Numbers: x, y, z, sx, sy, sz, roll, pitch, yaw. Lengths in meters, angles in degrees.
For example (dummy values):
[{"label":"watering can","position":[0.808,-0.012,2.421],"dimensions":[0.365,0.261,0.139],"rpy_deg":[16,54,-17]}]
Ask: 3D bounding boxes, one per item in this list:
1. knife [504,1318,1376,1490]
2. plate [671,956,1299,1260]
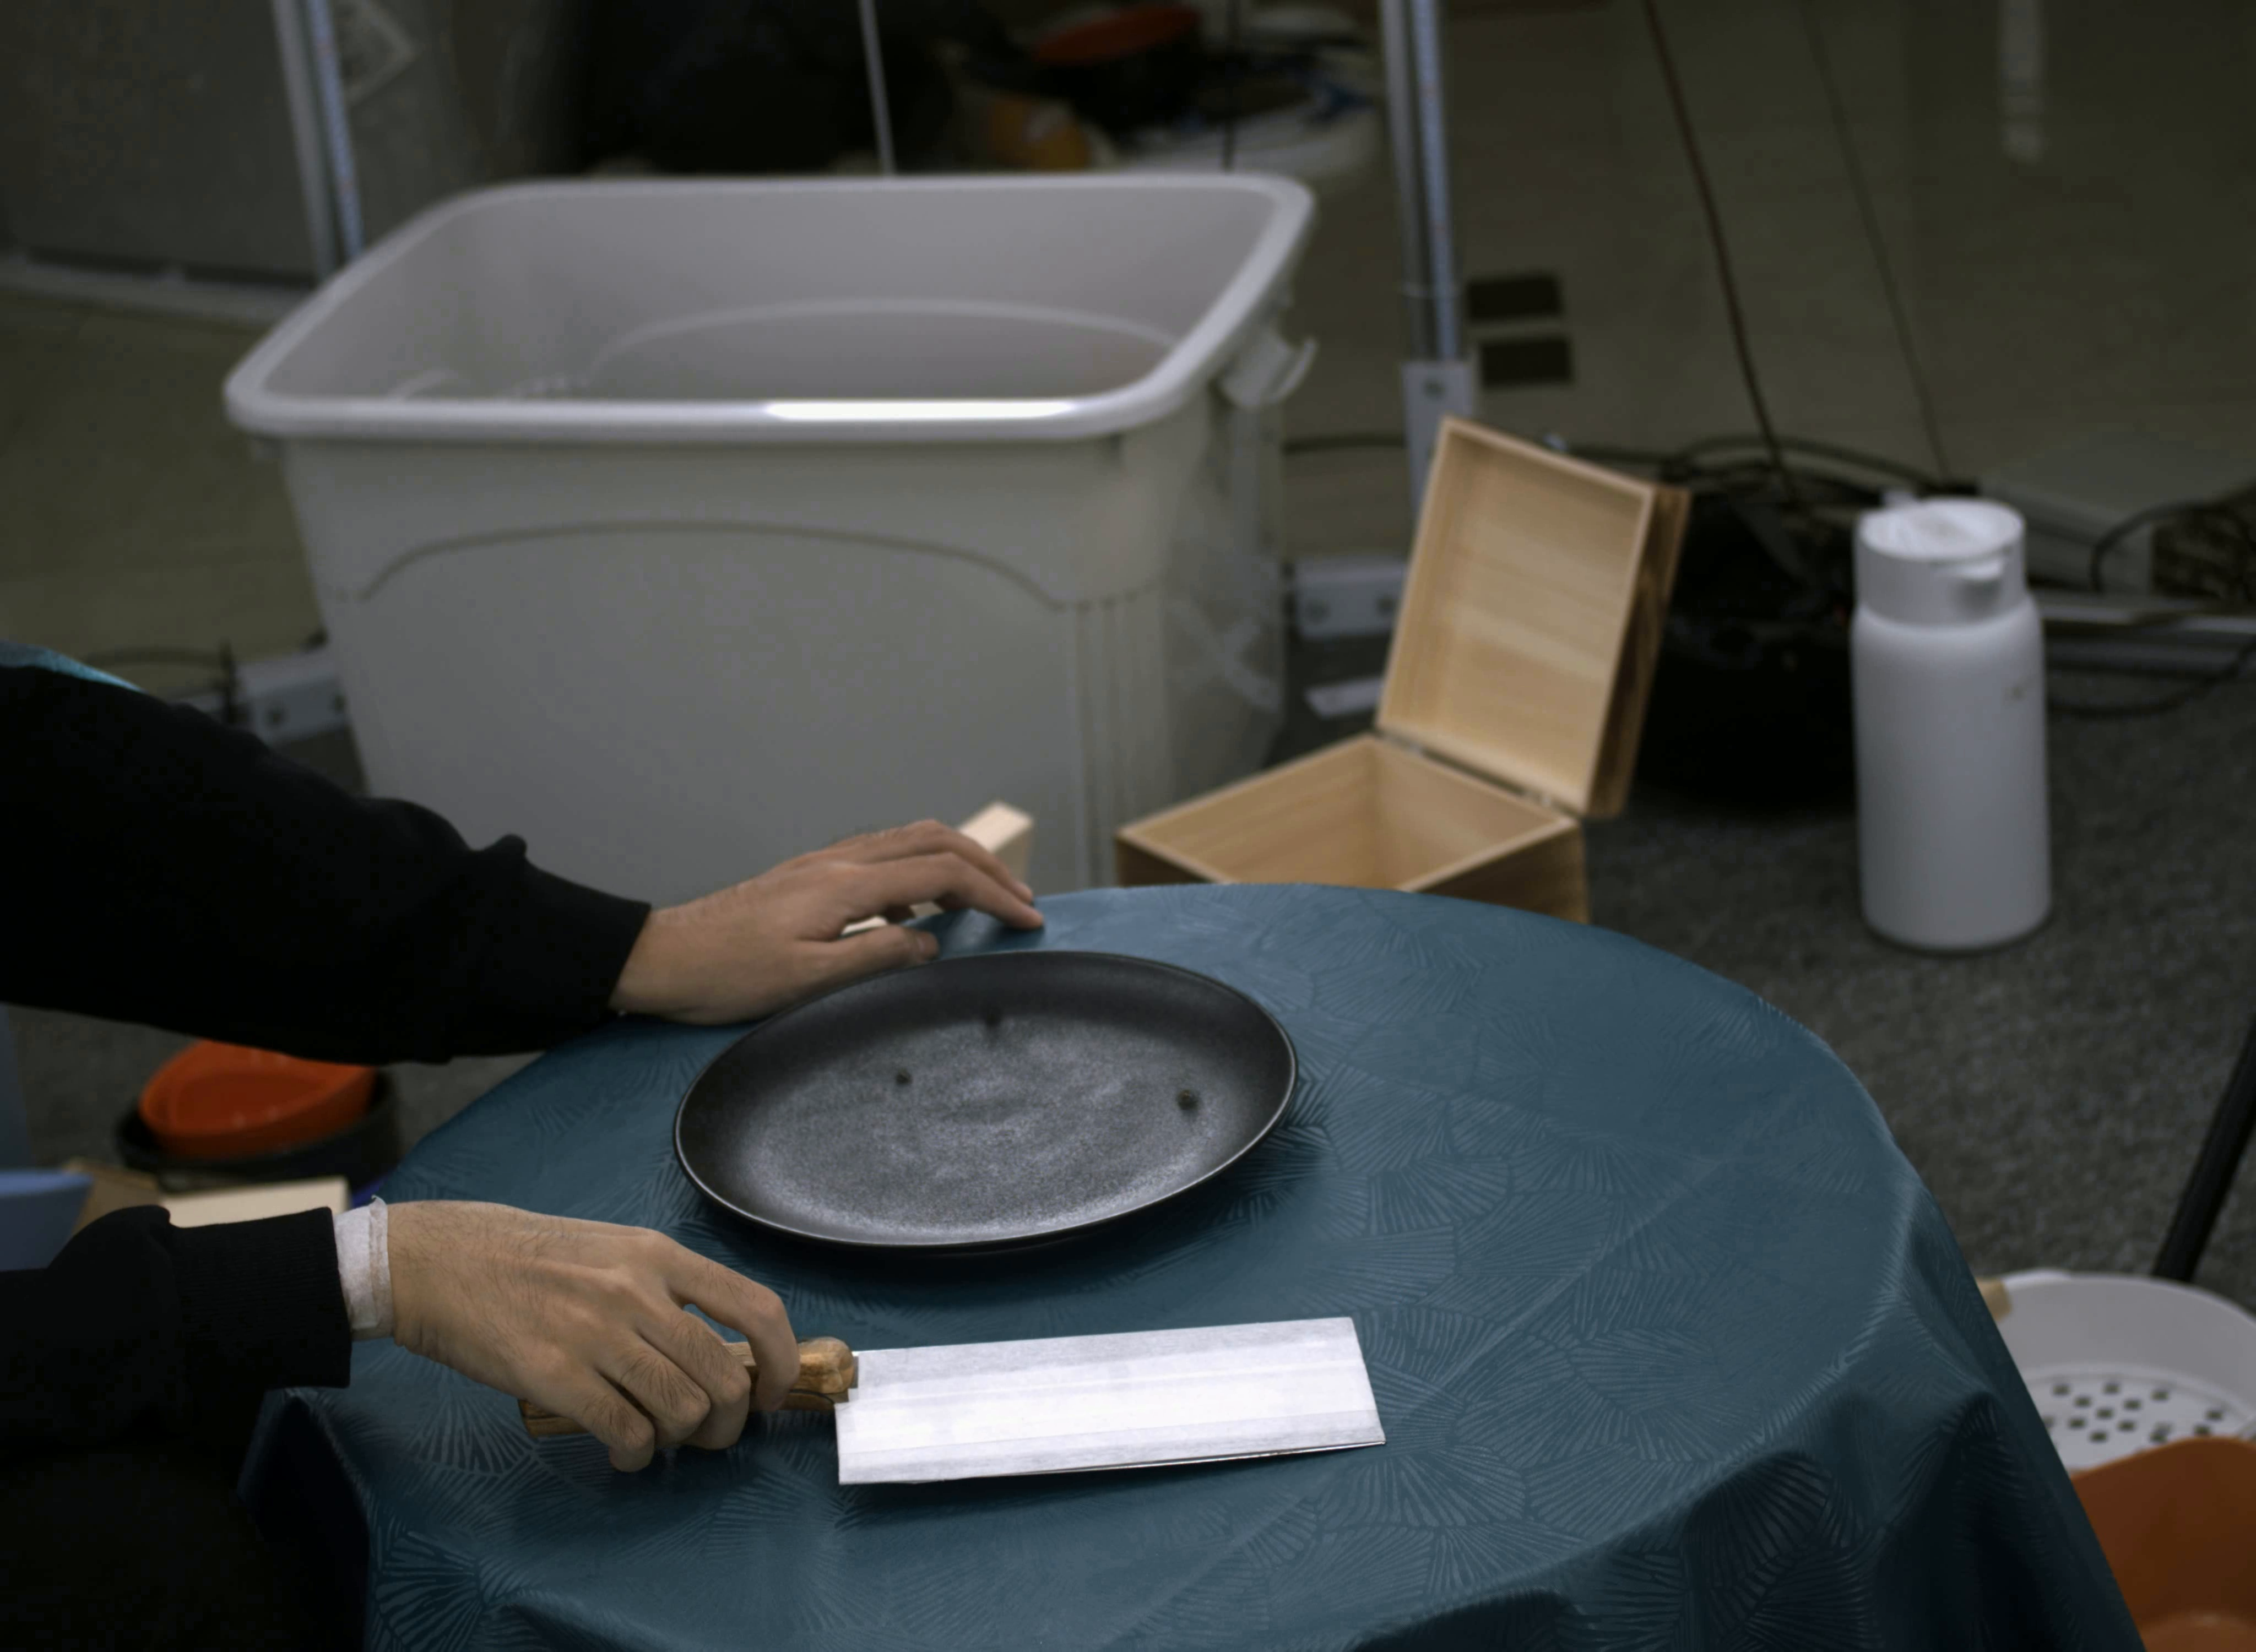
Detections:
[{"label":"knife","position":[-0.066,0.205,1.994],"dimensions":[0.305,0.021,0.091],"rpy_deg":[-4,25,-4]},{"label":"plate","position":[-0.054,0.113,2.188],"dimensions":[0.244,0.024,0.241],"rpy_deg":[-5,25,3]}]
